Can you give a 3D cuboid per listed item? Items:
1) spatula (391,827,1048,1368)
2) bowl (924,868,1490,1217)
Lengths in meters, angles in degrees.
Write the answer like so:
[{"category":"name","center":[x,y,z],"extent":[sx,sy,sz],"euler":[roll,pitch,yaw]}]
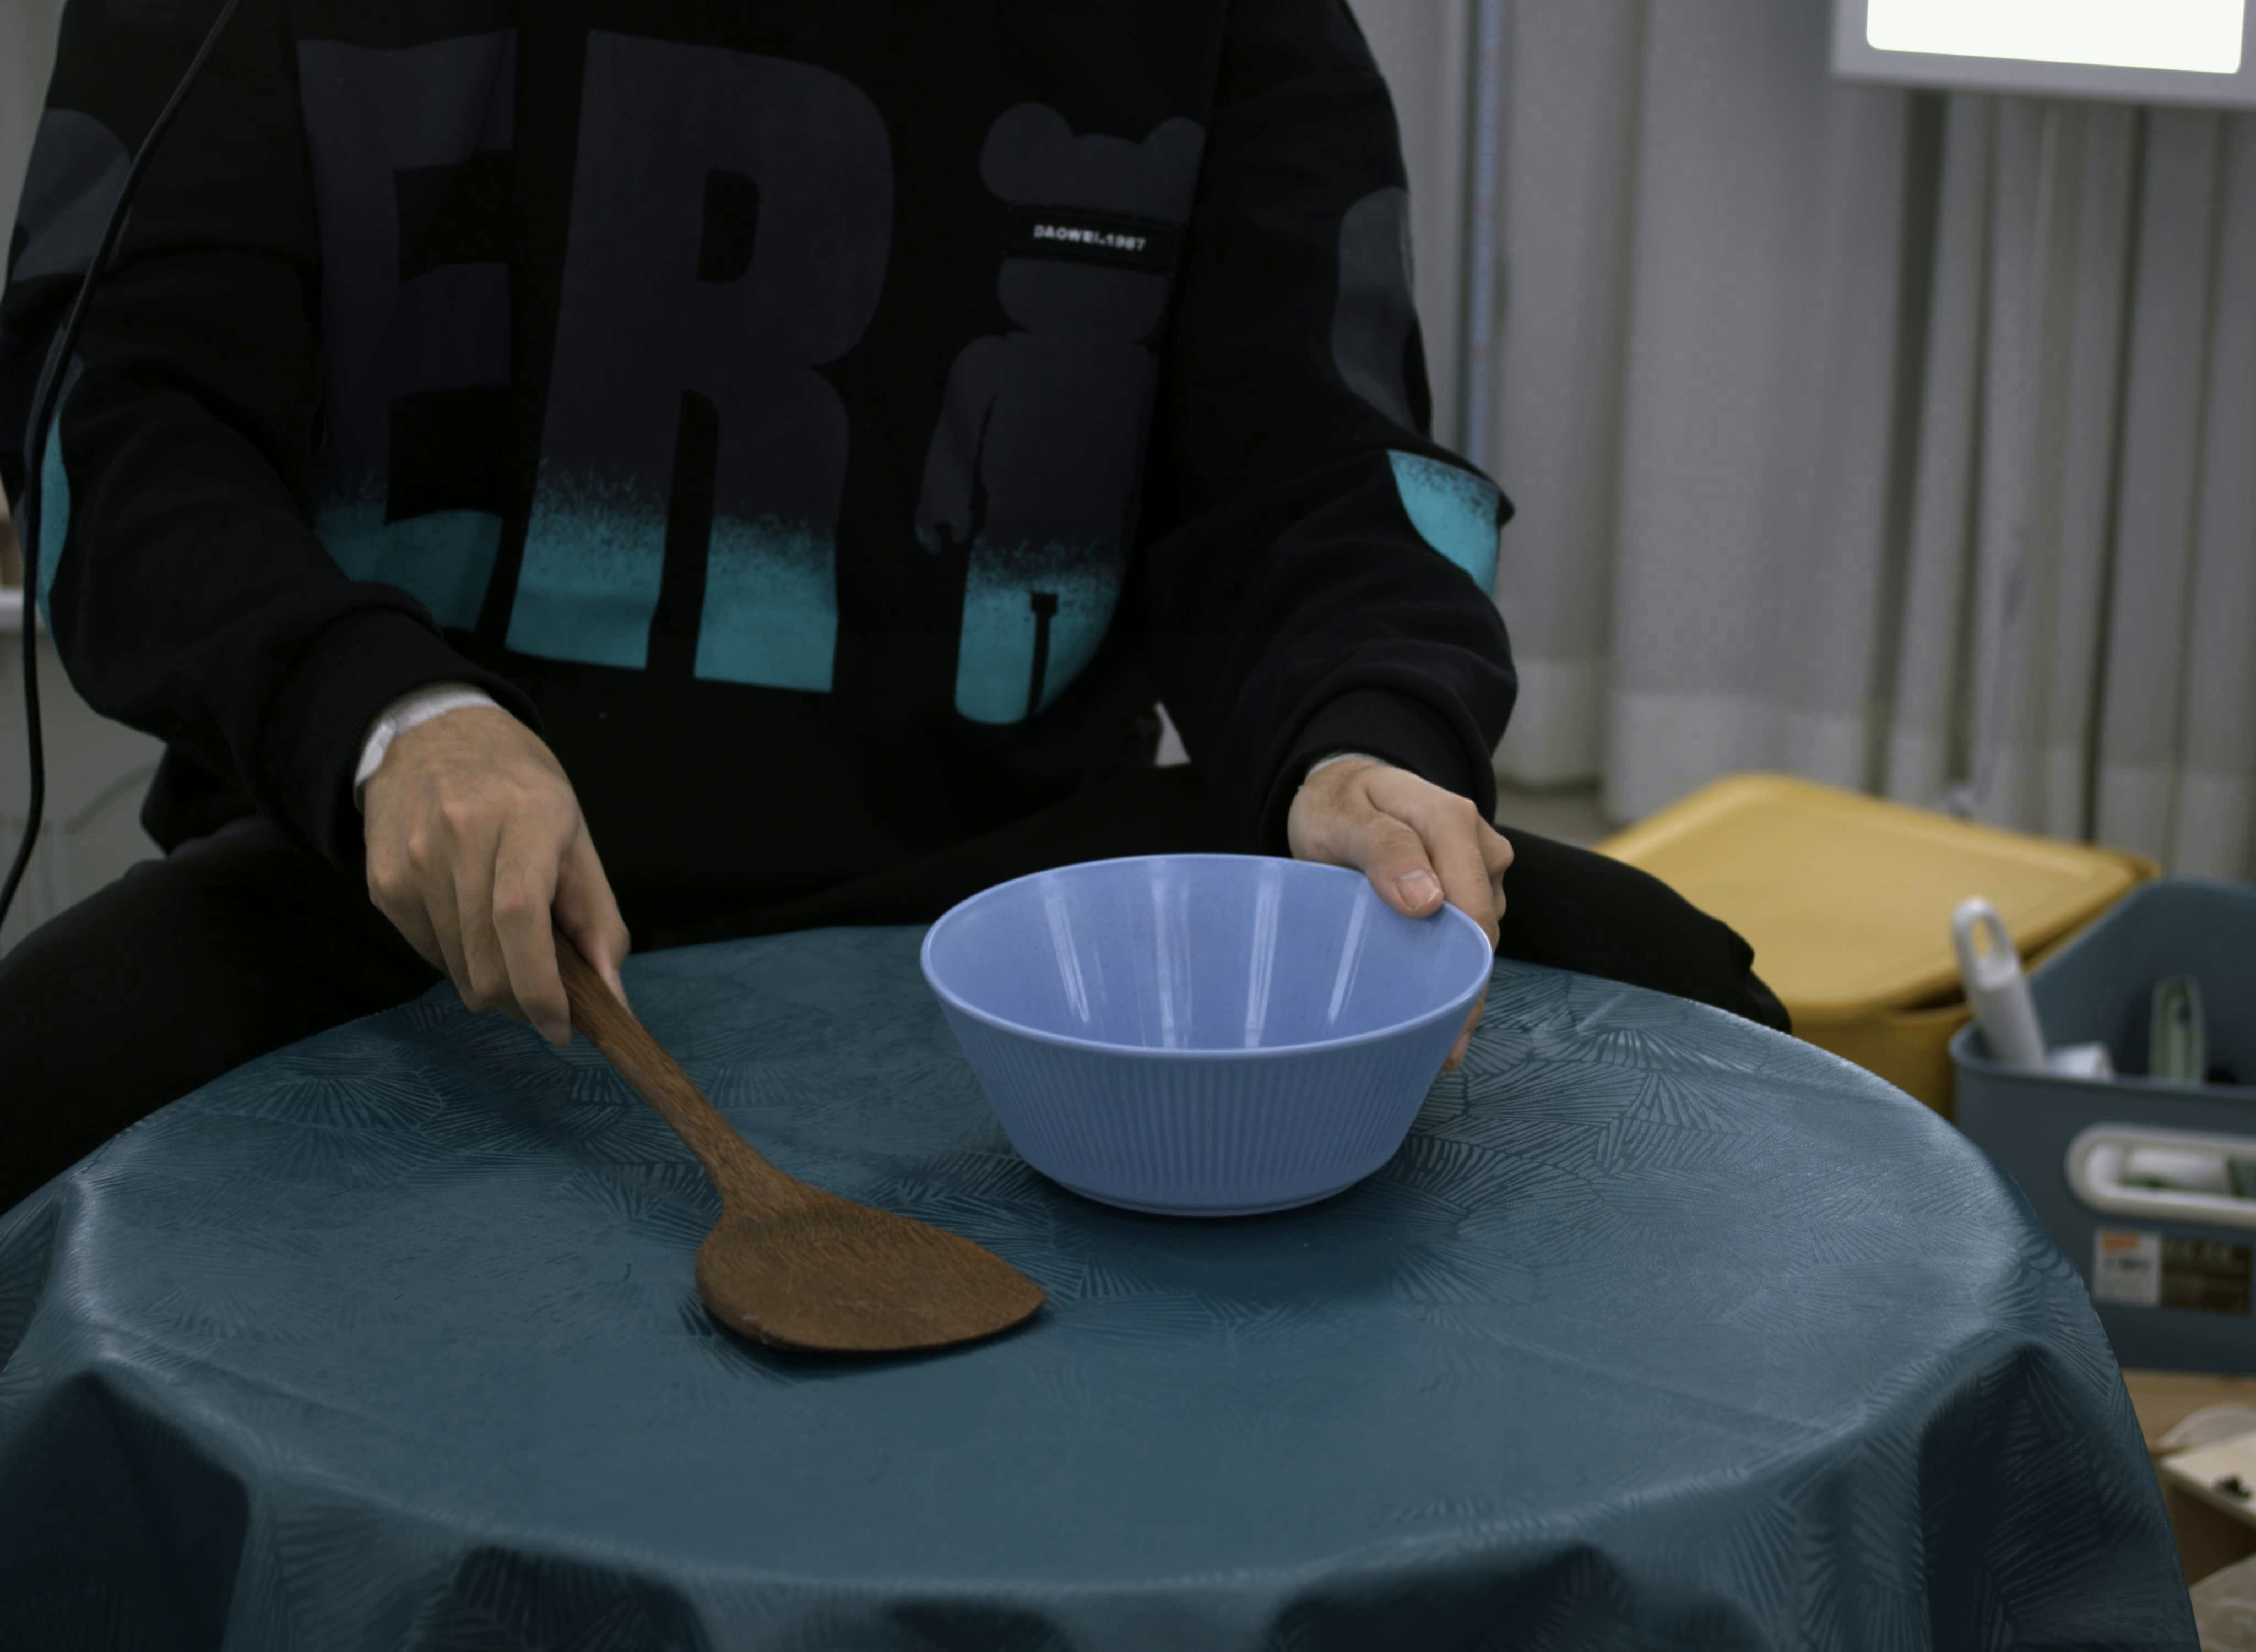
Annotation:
[{"category":"spatula","center":[-0.149,0.076,1.634],"extent":[0.096,0.016,0.380],"euler":[-6,27,-30]},{"category":"bowl","center":[0.024,0.070,1.632],"extent":[0.175,0.071,0.175],"euler":[1,18,0]}]
